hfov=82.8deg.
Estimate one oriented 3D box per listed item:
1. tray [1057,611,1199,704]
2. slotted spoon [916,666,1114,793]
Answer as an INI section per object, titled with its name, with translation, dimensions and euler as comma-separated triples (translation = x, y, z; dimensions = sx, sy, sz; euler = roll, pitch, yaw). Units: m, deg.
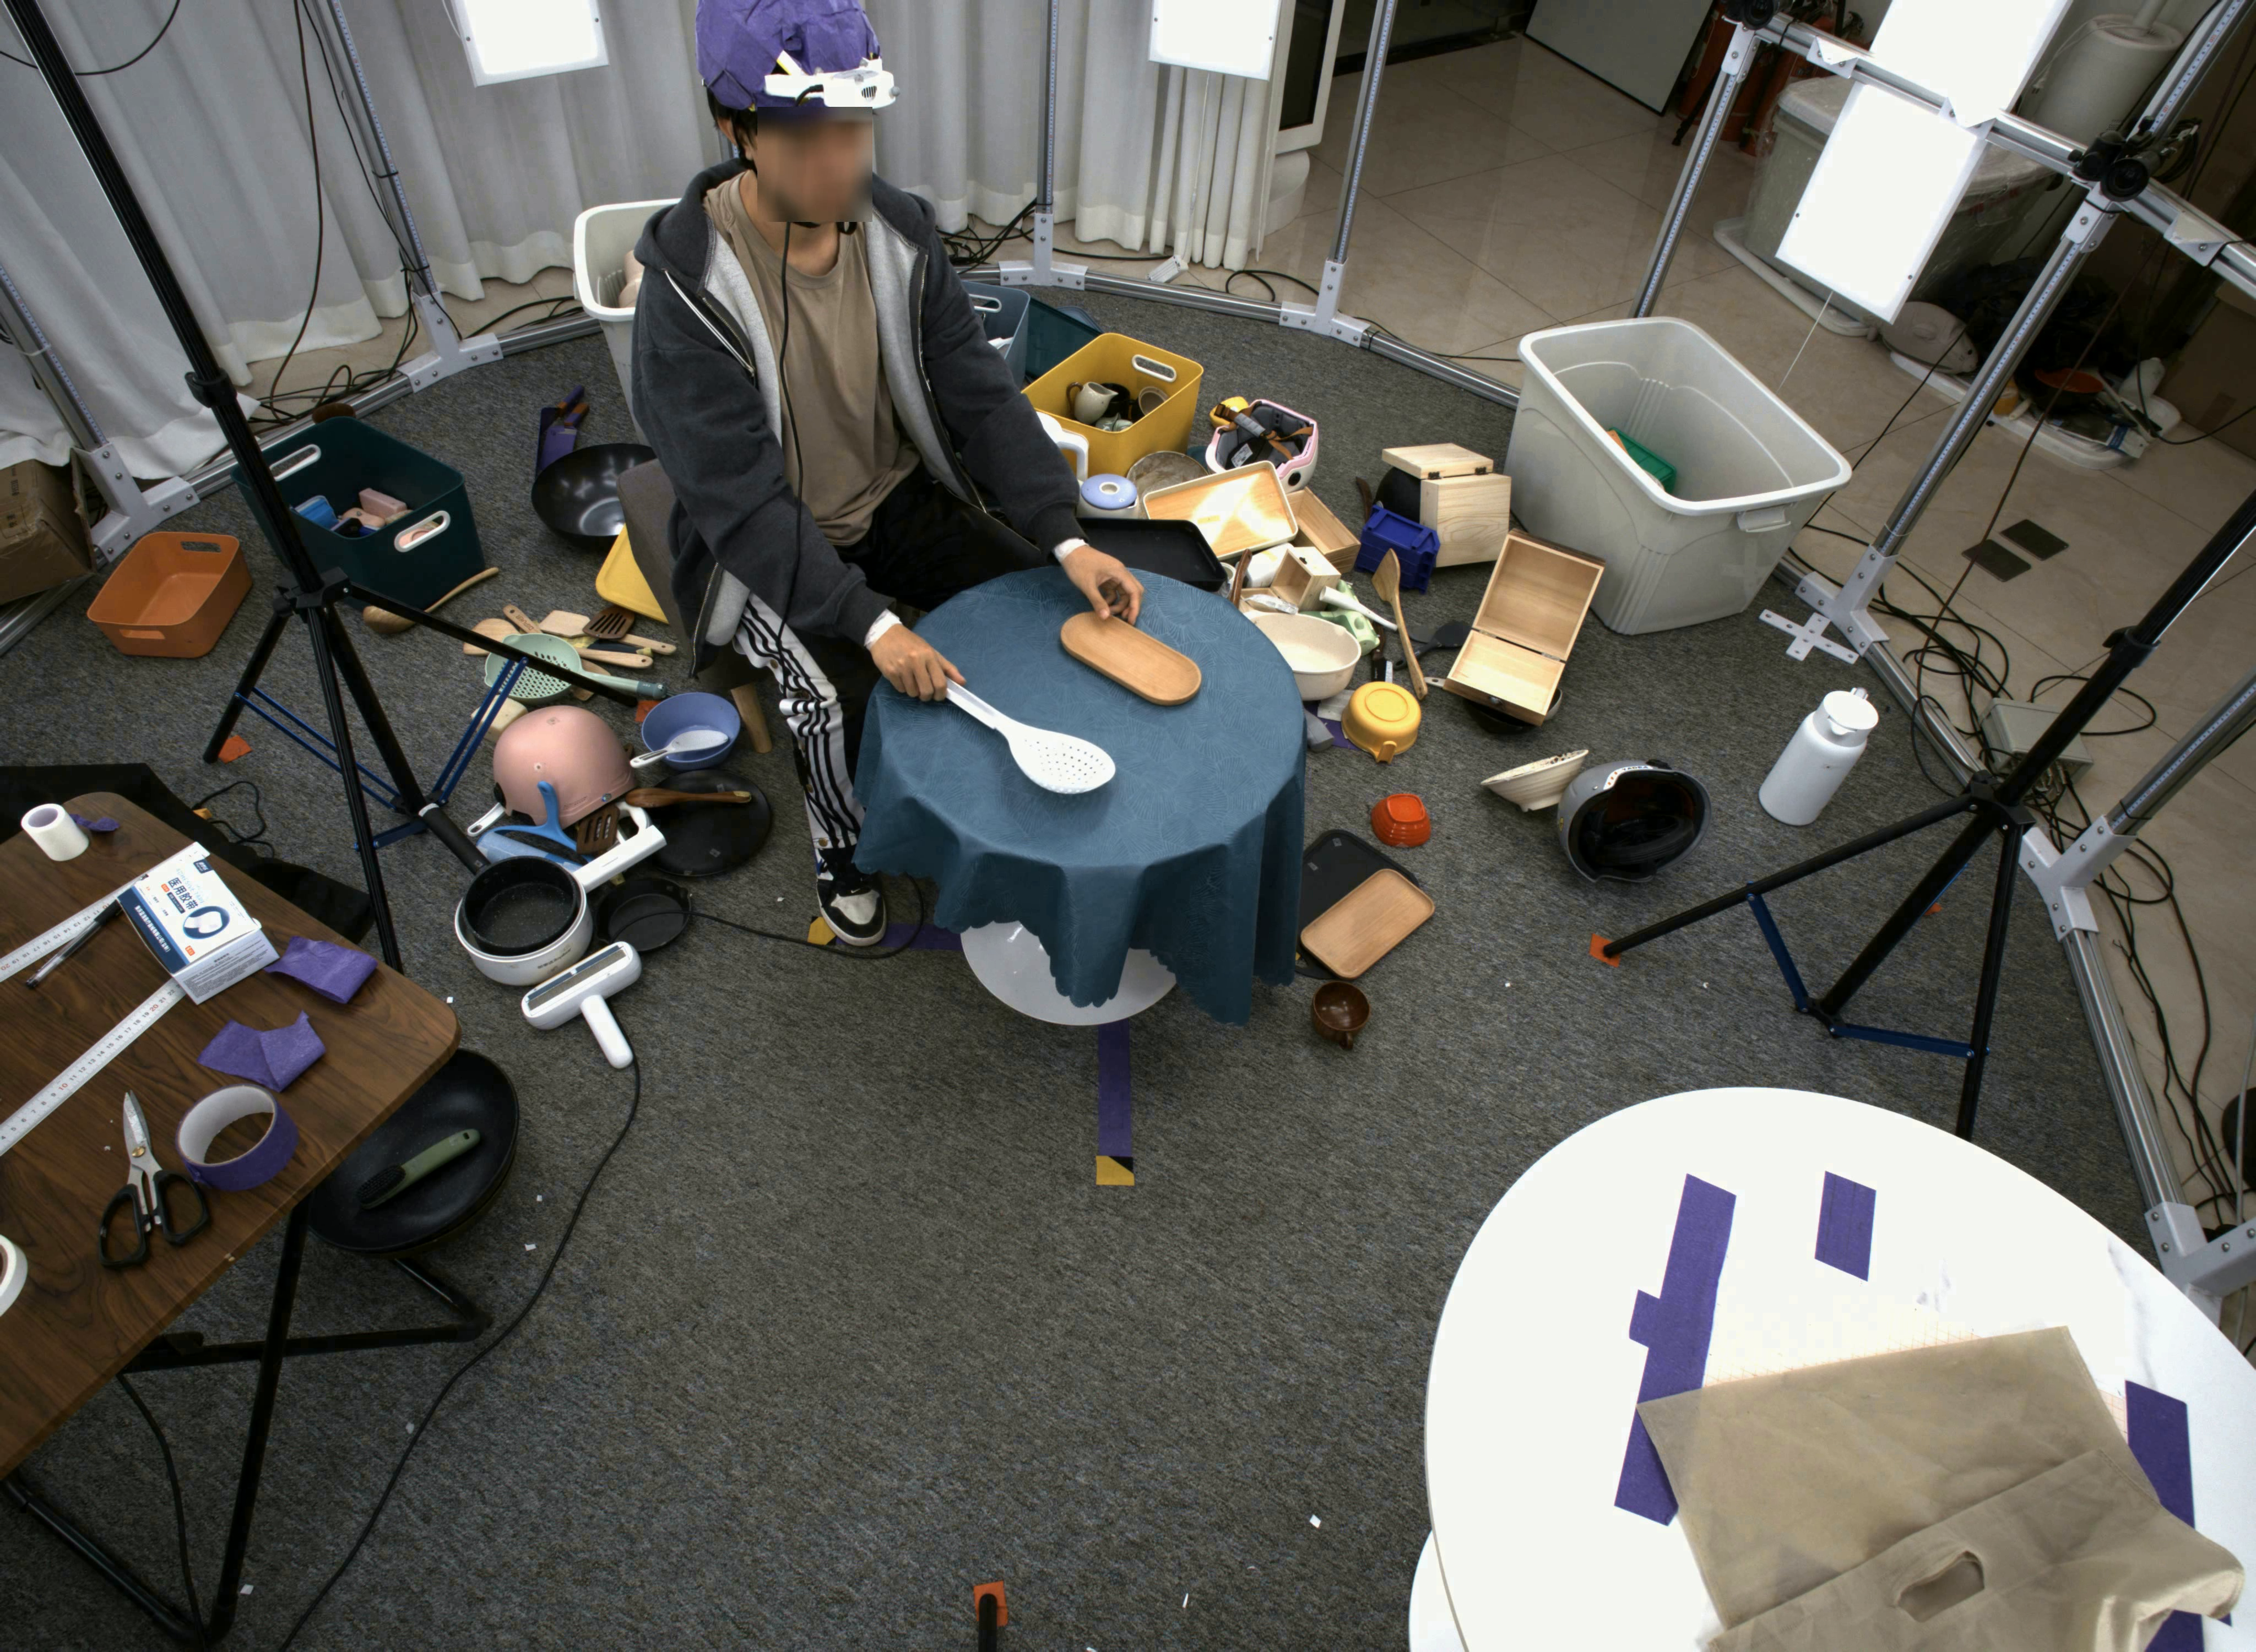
[tray]
translation = -0.001, -0.246, 1.869
dimensions = 0.234, 0.020, 0.103
euler = 31, 53, 22
[slotted spoon]
translation = -0.165, -0.135, 1.738
dimensions = 0.355, 0.045, 0.136
euler = 38, 35, 27
